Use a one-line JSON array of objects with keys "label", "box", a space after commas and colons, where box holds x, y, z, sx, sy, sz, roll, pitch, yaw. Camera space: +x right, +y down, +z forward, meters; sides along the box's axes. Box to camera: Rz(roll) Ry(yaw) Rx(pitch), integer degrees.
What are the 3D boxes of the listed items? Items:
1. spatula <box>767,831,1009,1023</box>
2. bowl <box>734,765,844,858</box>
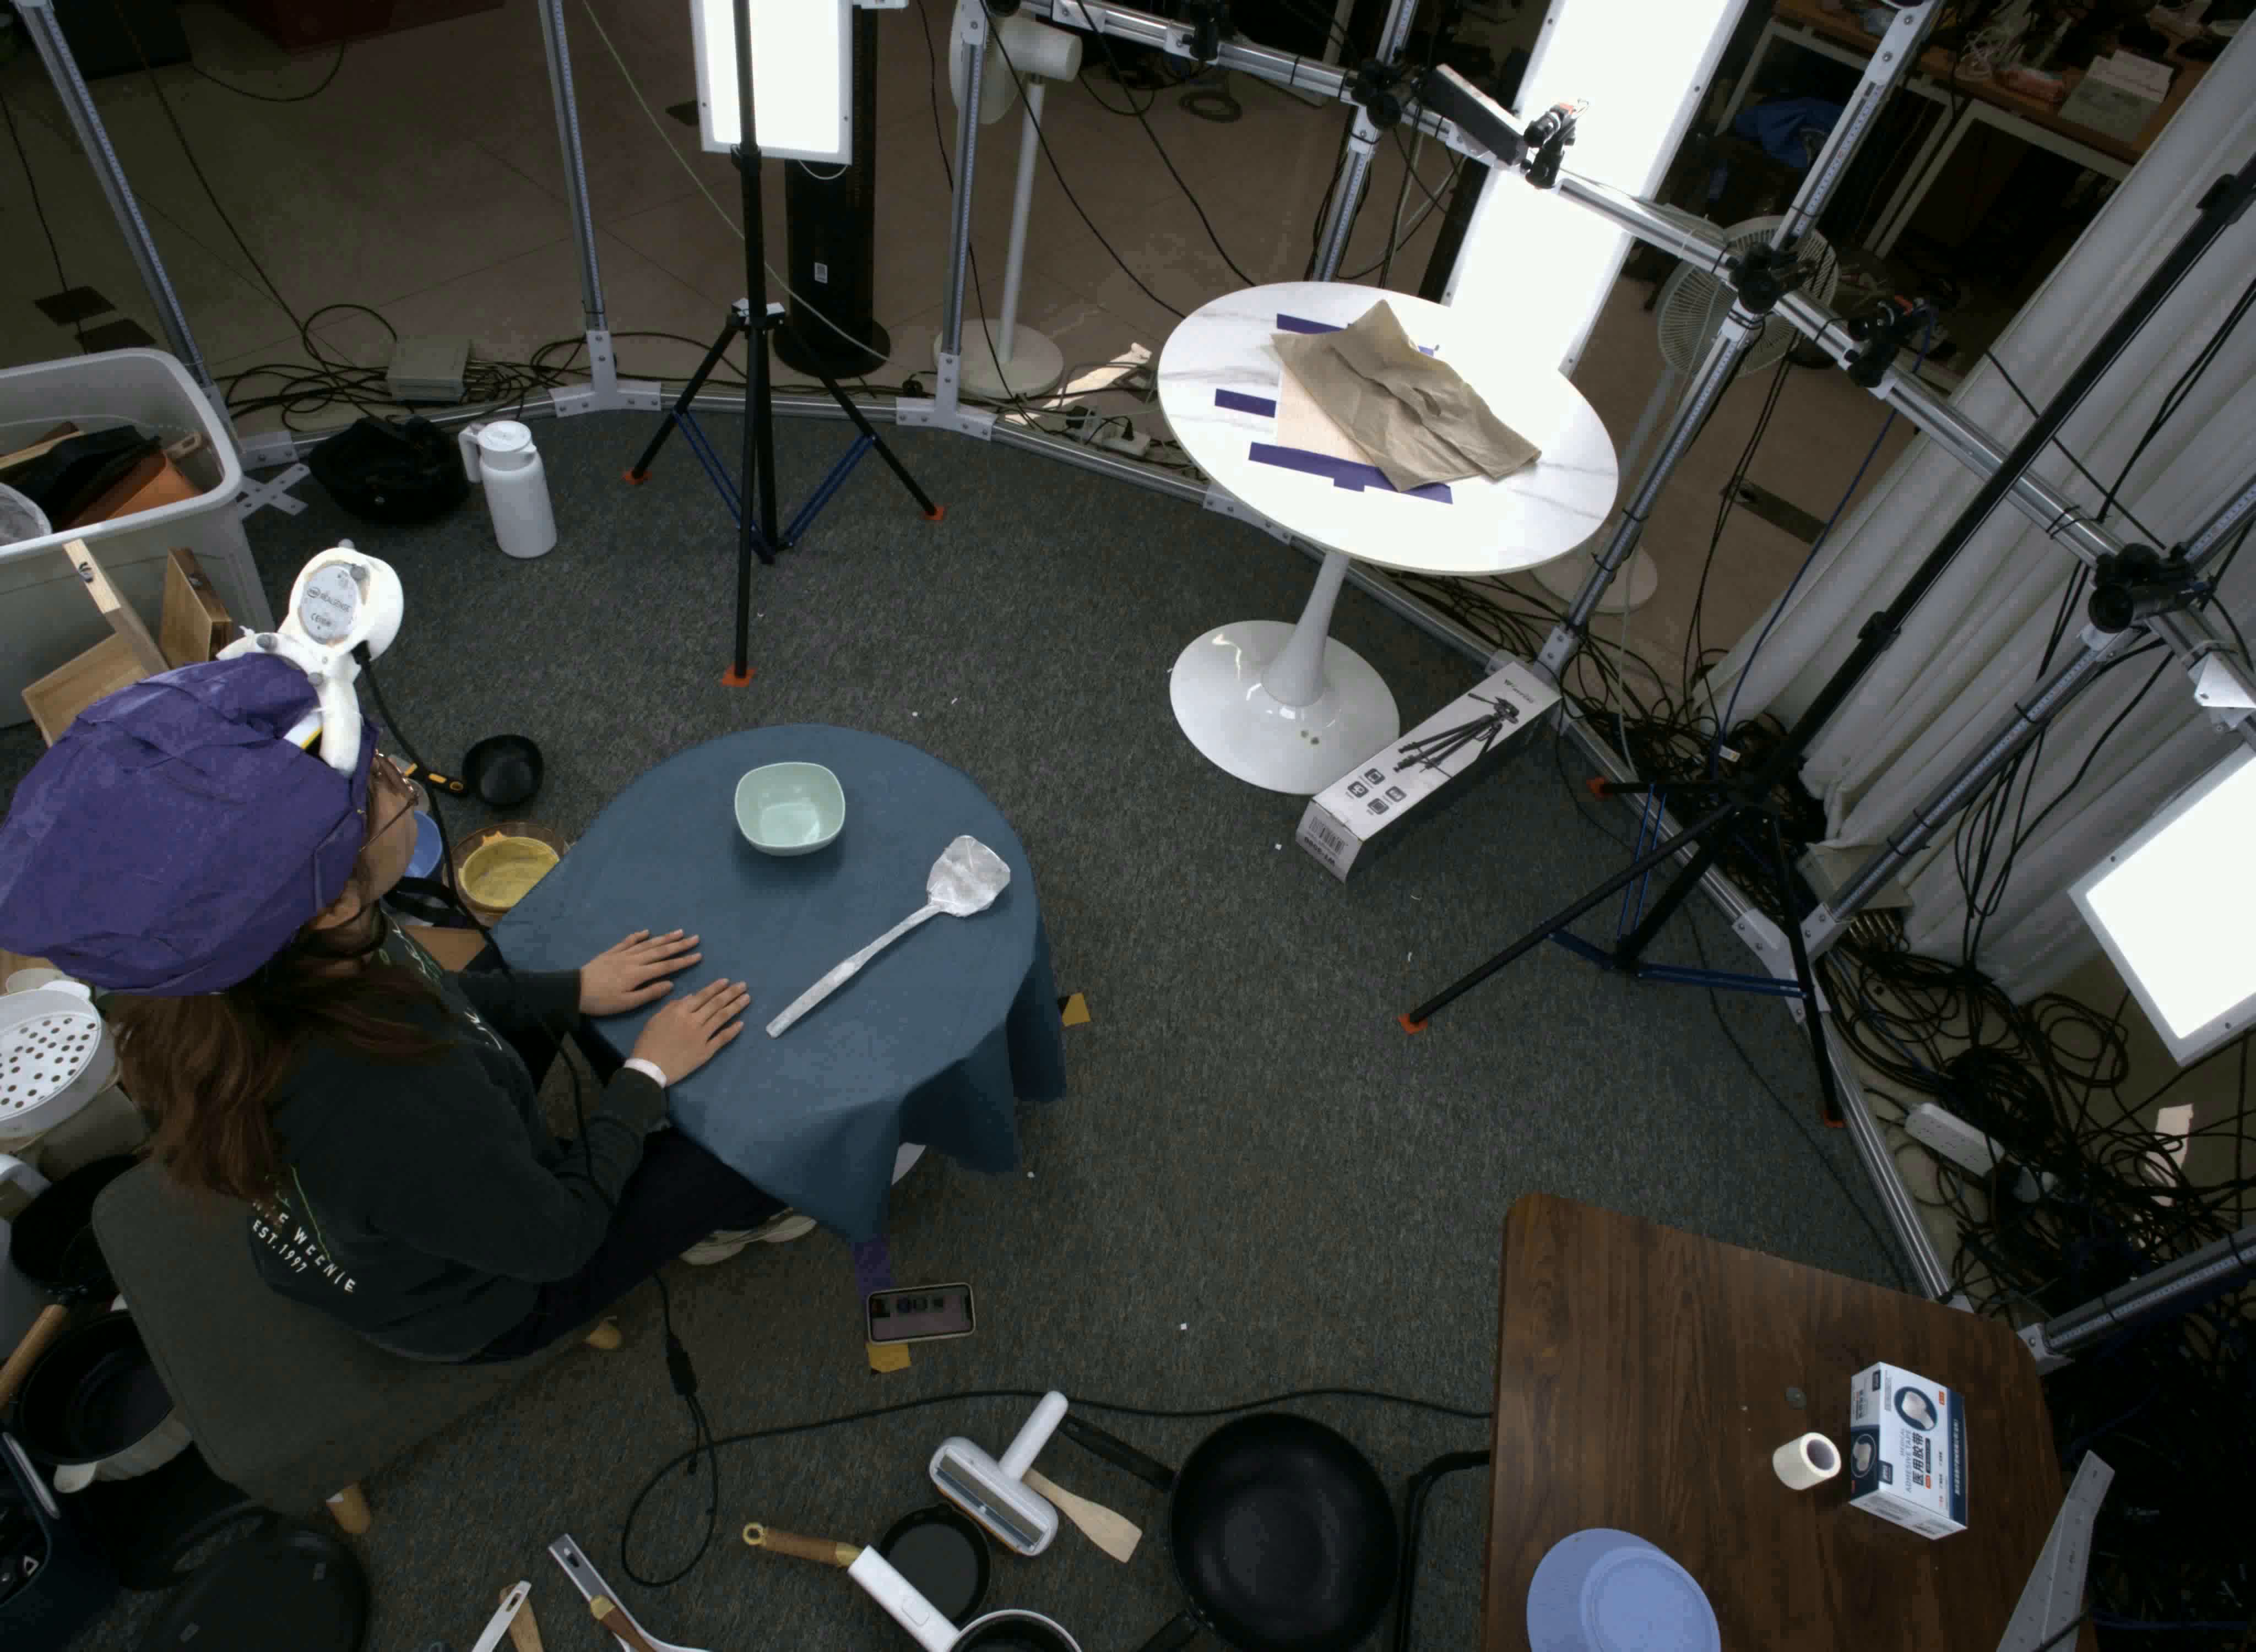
[{"label": "spatula", "box": [-0.302, 0.133, 1.636, 0.097, 0.045, 0.365, 42, 55, 15]}, {"label": "bowl", "box": [-0.443, -0.011, 1.697, 0.151, 0.060, 0.148, 8, 49, -8]}]
